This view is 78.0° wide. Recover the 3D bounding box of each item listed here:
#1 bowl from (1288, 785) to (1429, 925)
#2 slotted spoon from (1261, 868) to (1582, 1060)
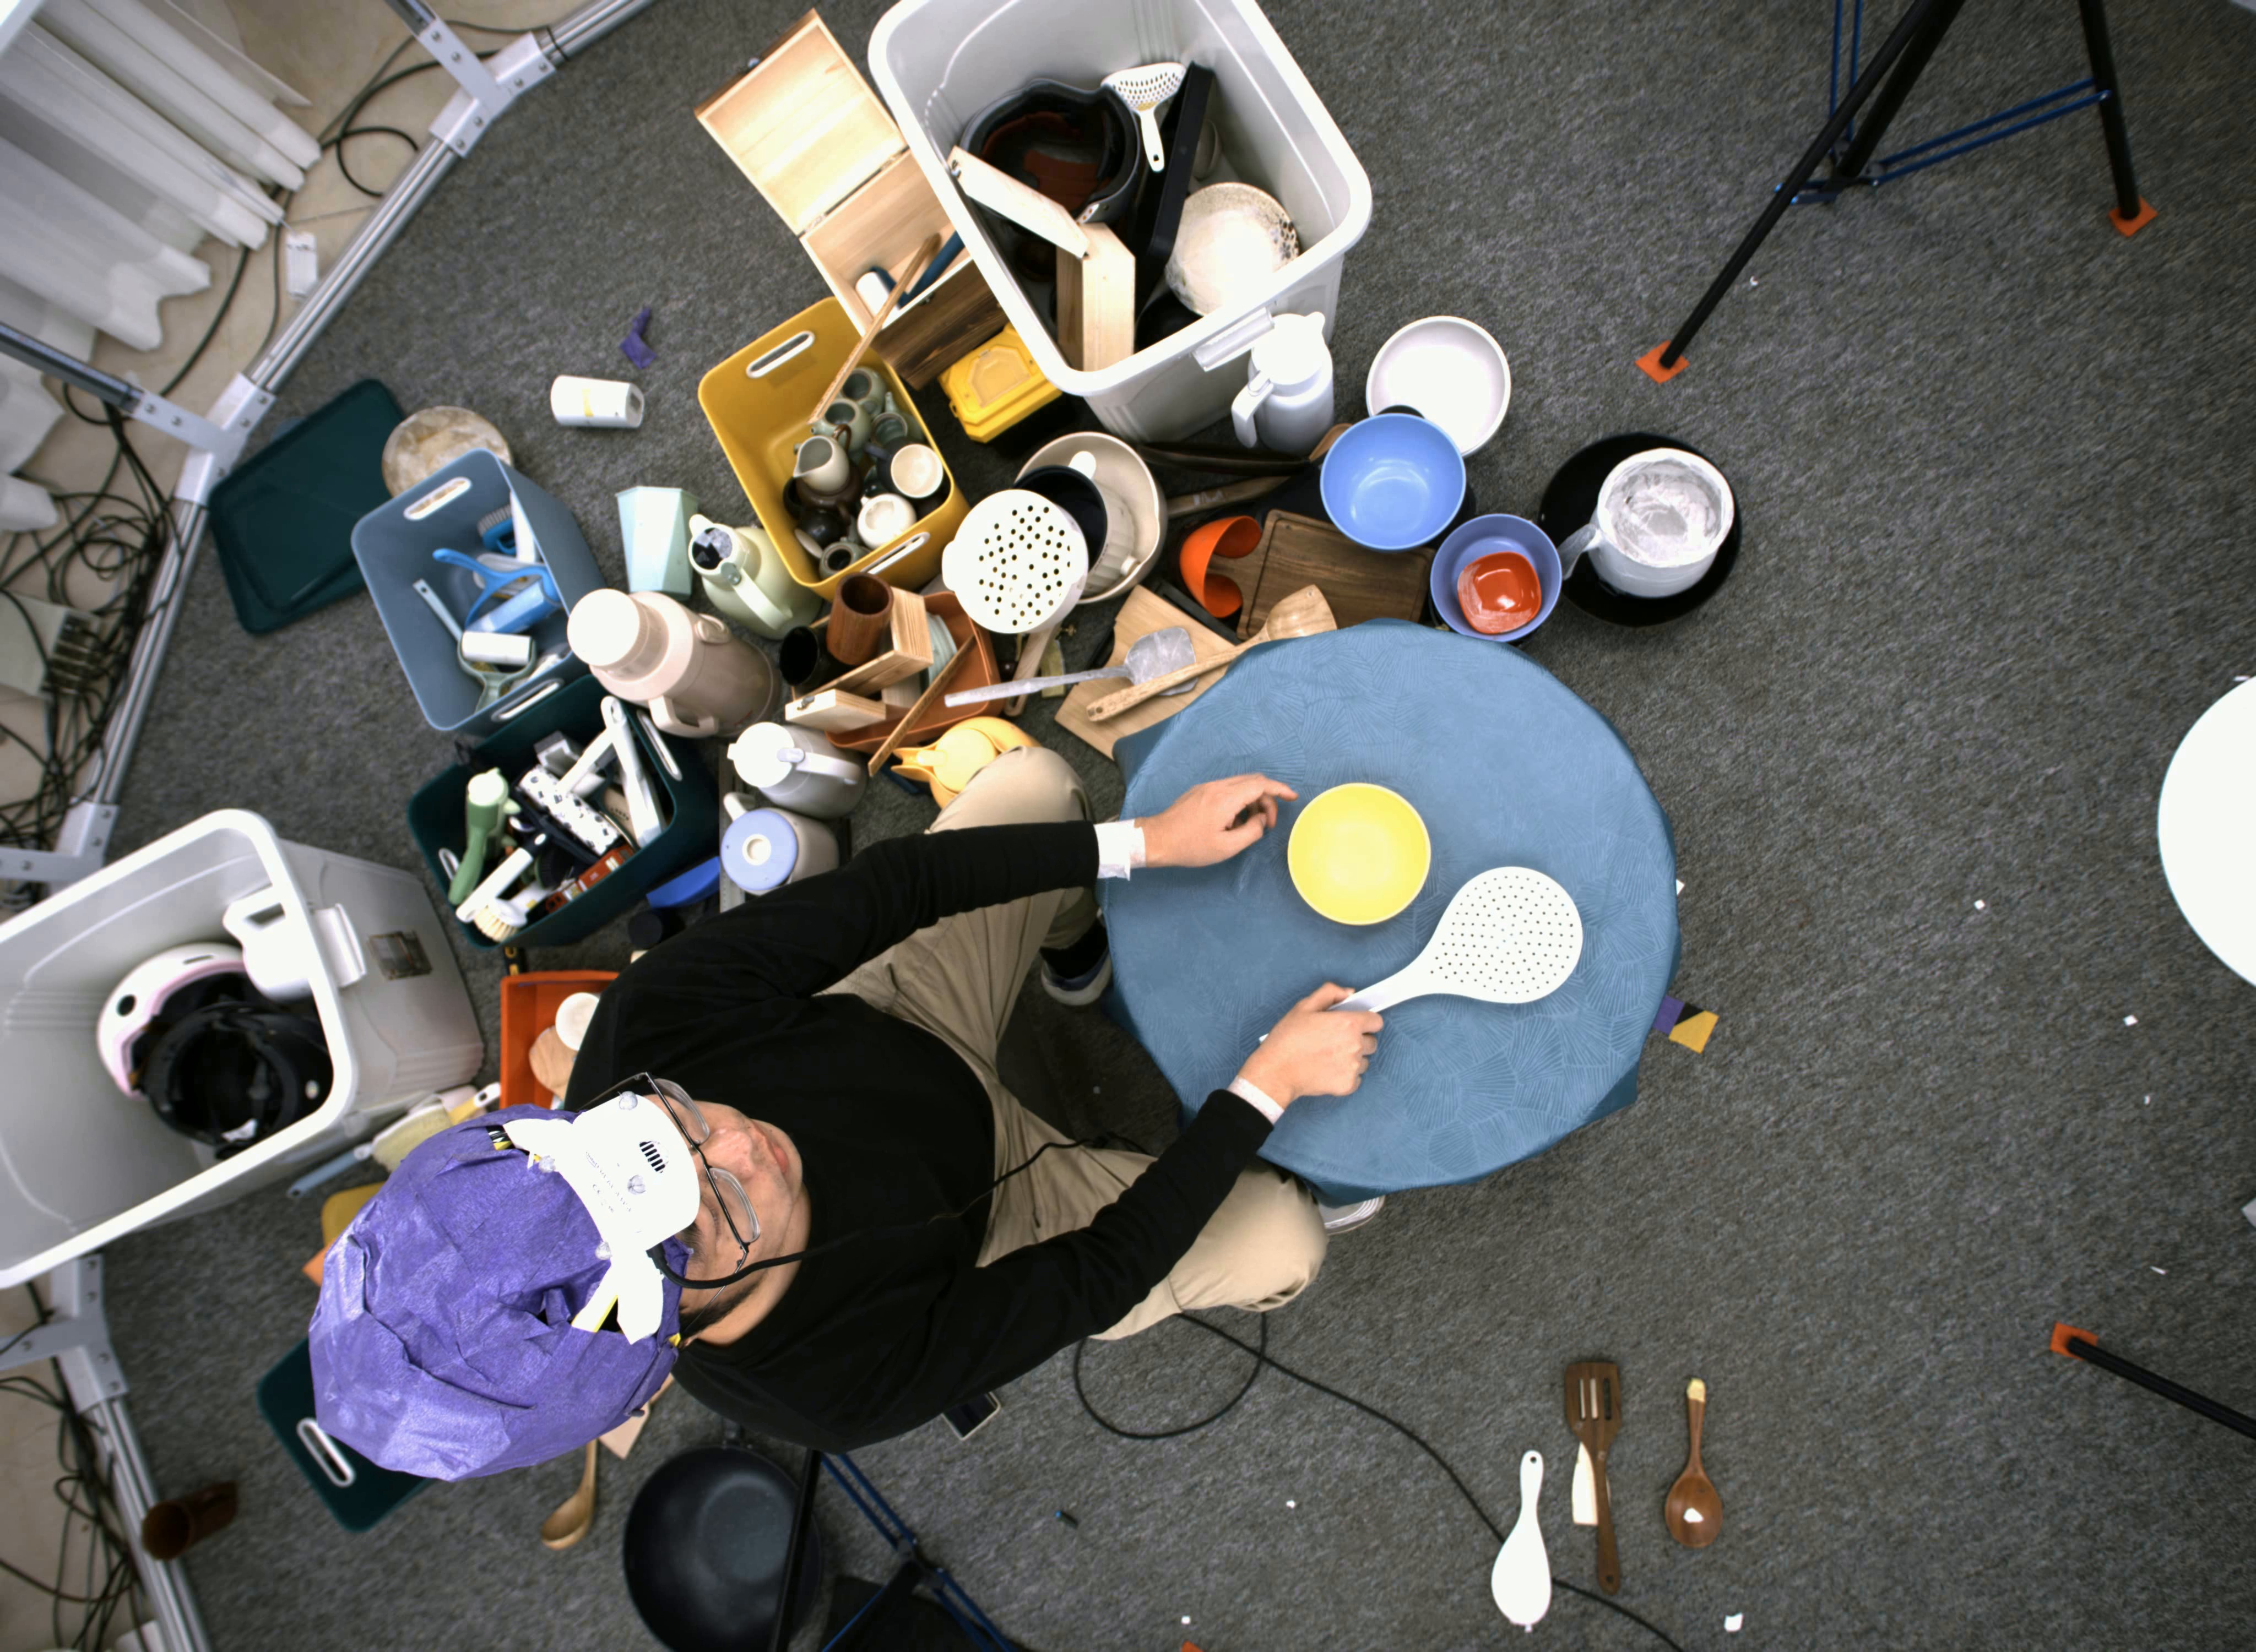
[{"bbox_3d":[0.240,0.032,1.439,0.146,0.060,0.144,-1,84,10],"label":"bowl"},{"bbox_3d":[0.298,0.158,1.427,0.352,0.046,0.135,-27,82,9],"label":"slotted spoon"}]
